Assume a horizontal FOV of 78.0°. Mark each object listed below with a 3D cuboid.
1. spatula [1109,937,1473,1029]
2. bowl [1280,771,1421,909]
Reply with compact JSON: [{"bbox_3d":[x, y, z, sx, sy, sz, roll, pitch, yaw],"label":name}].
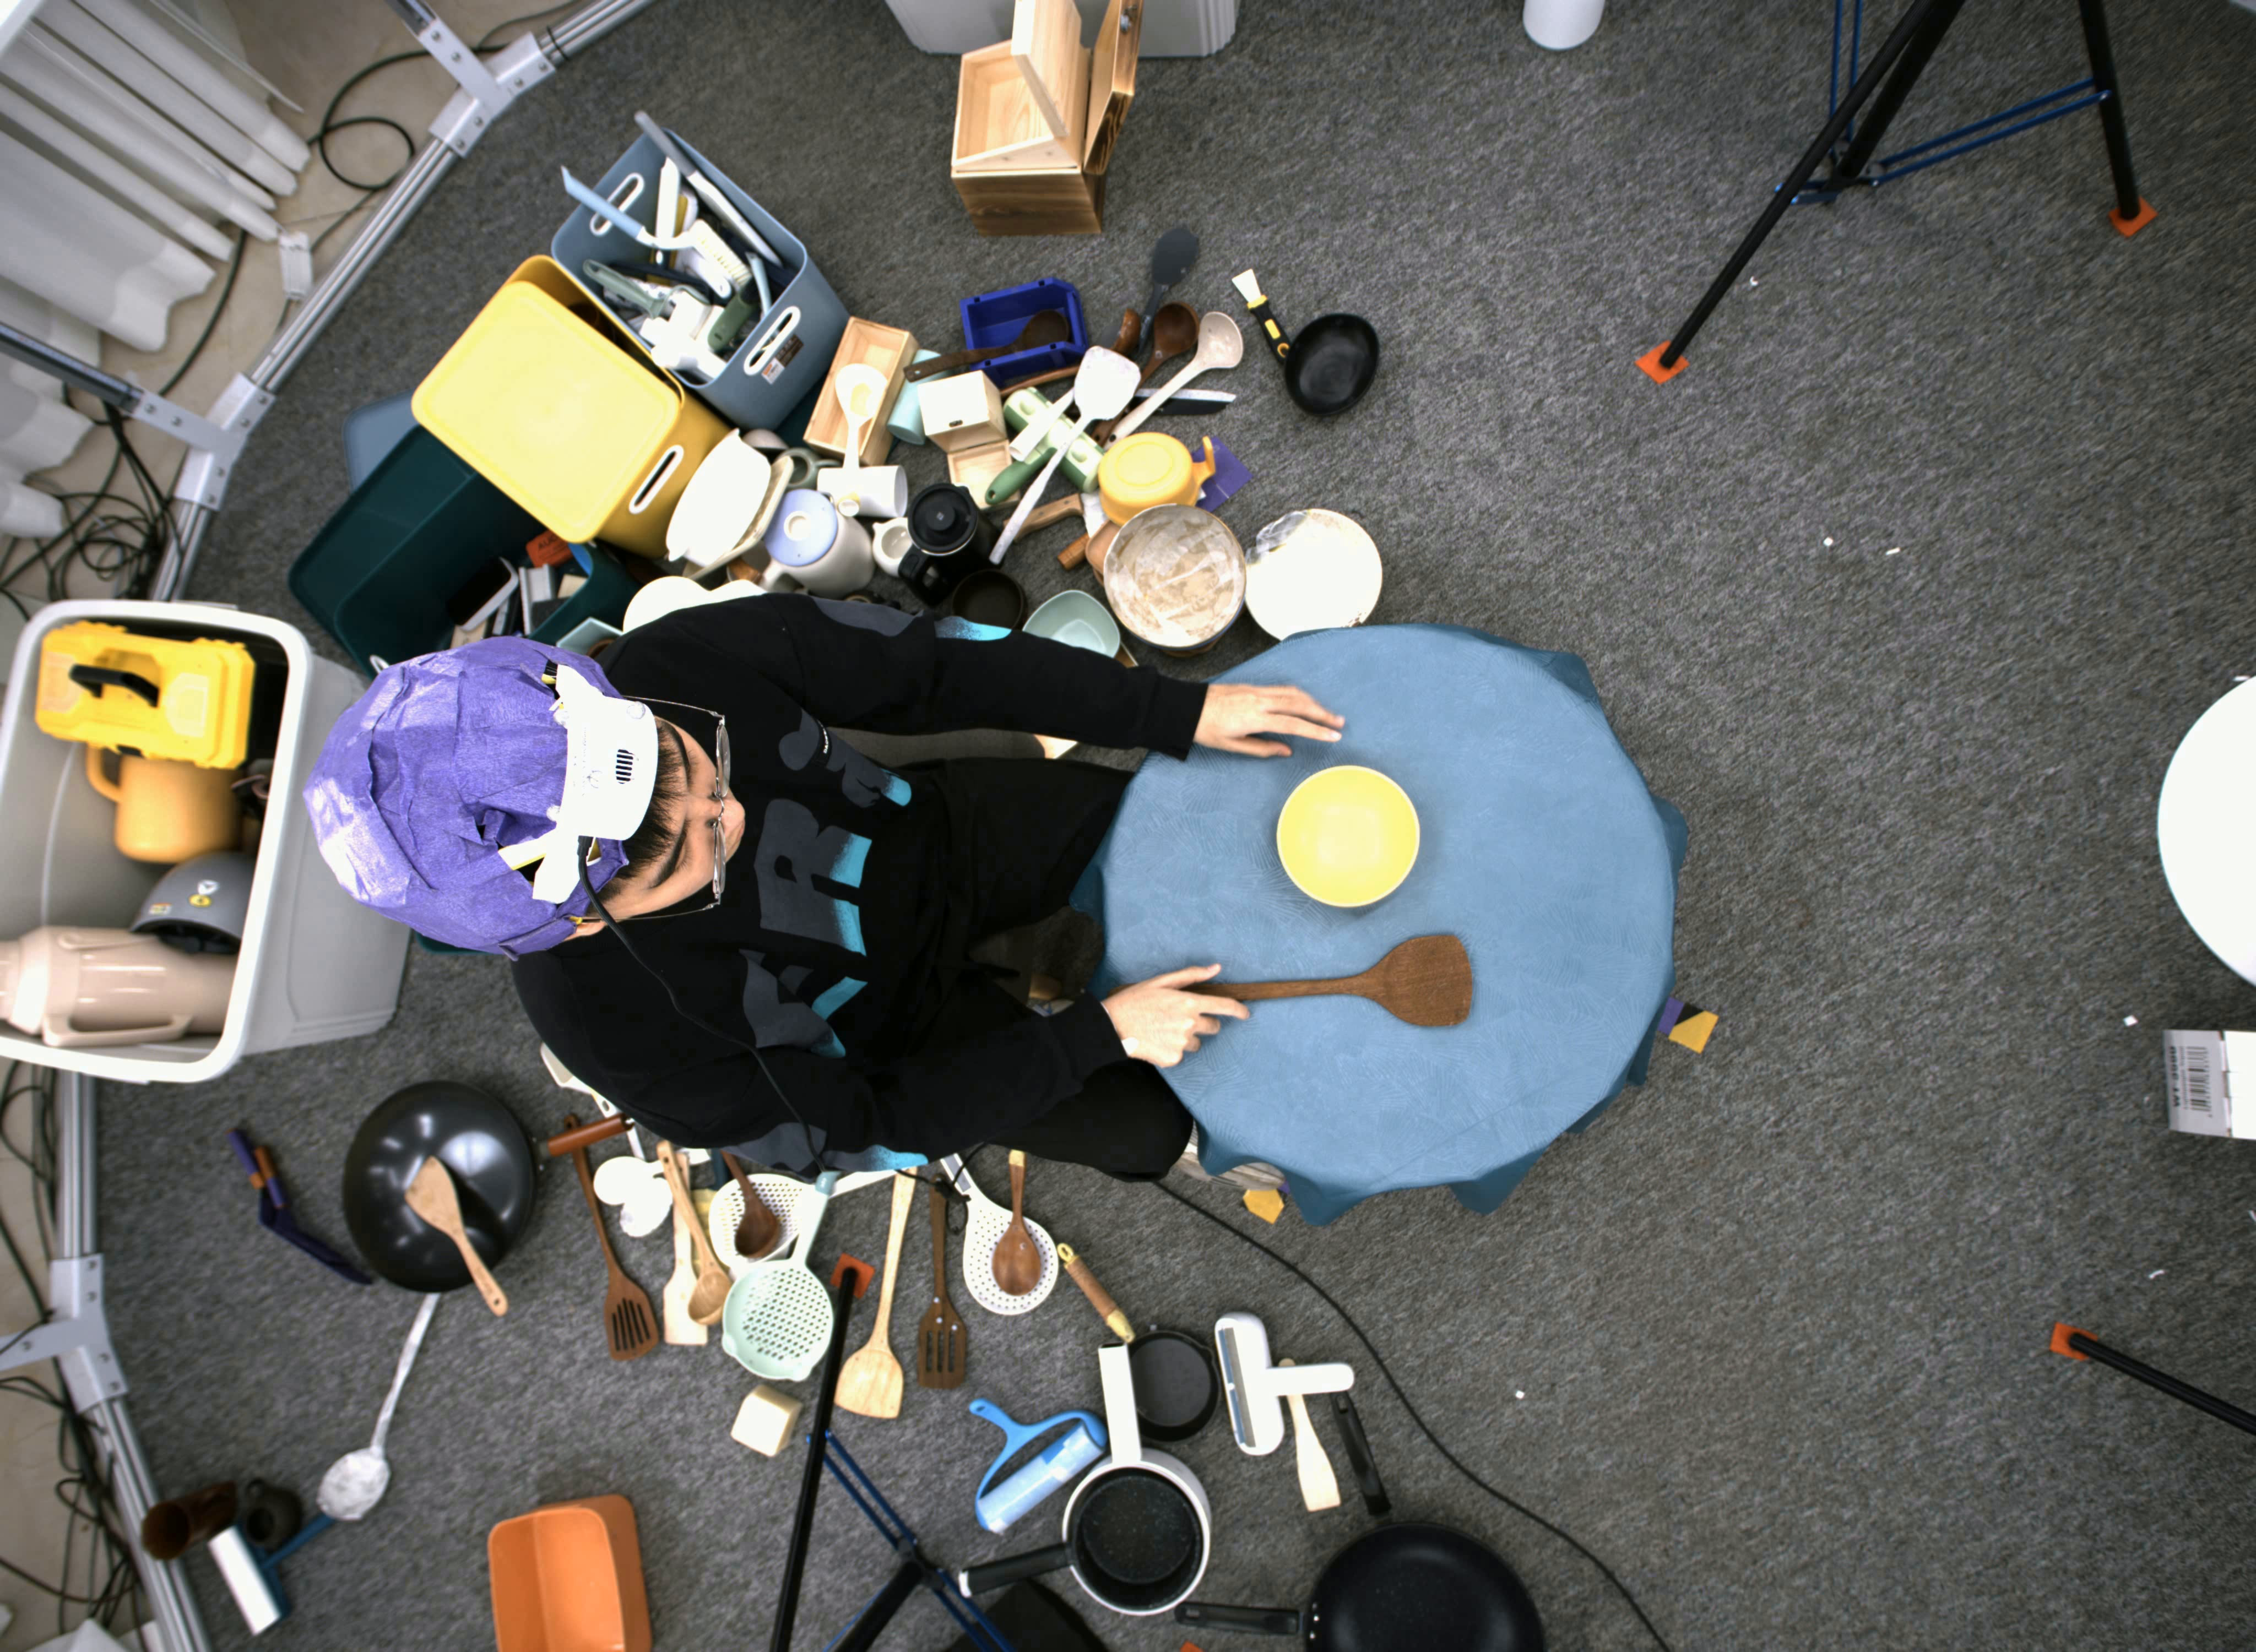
[{"bbox_3d":[0.169,0.175,1.468,0.387,0.016,0.095,-5,84,9],"label":"spatula"},{"bbox_3d":[0.233,0.017,1.447,0.146,0.060,0.144,-2,83,11],"label":"bowl"}]
